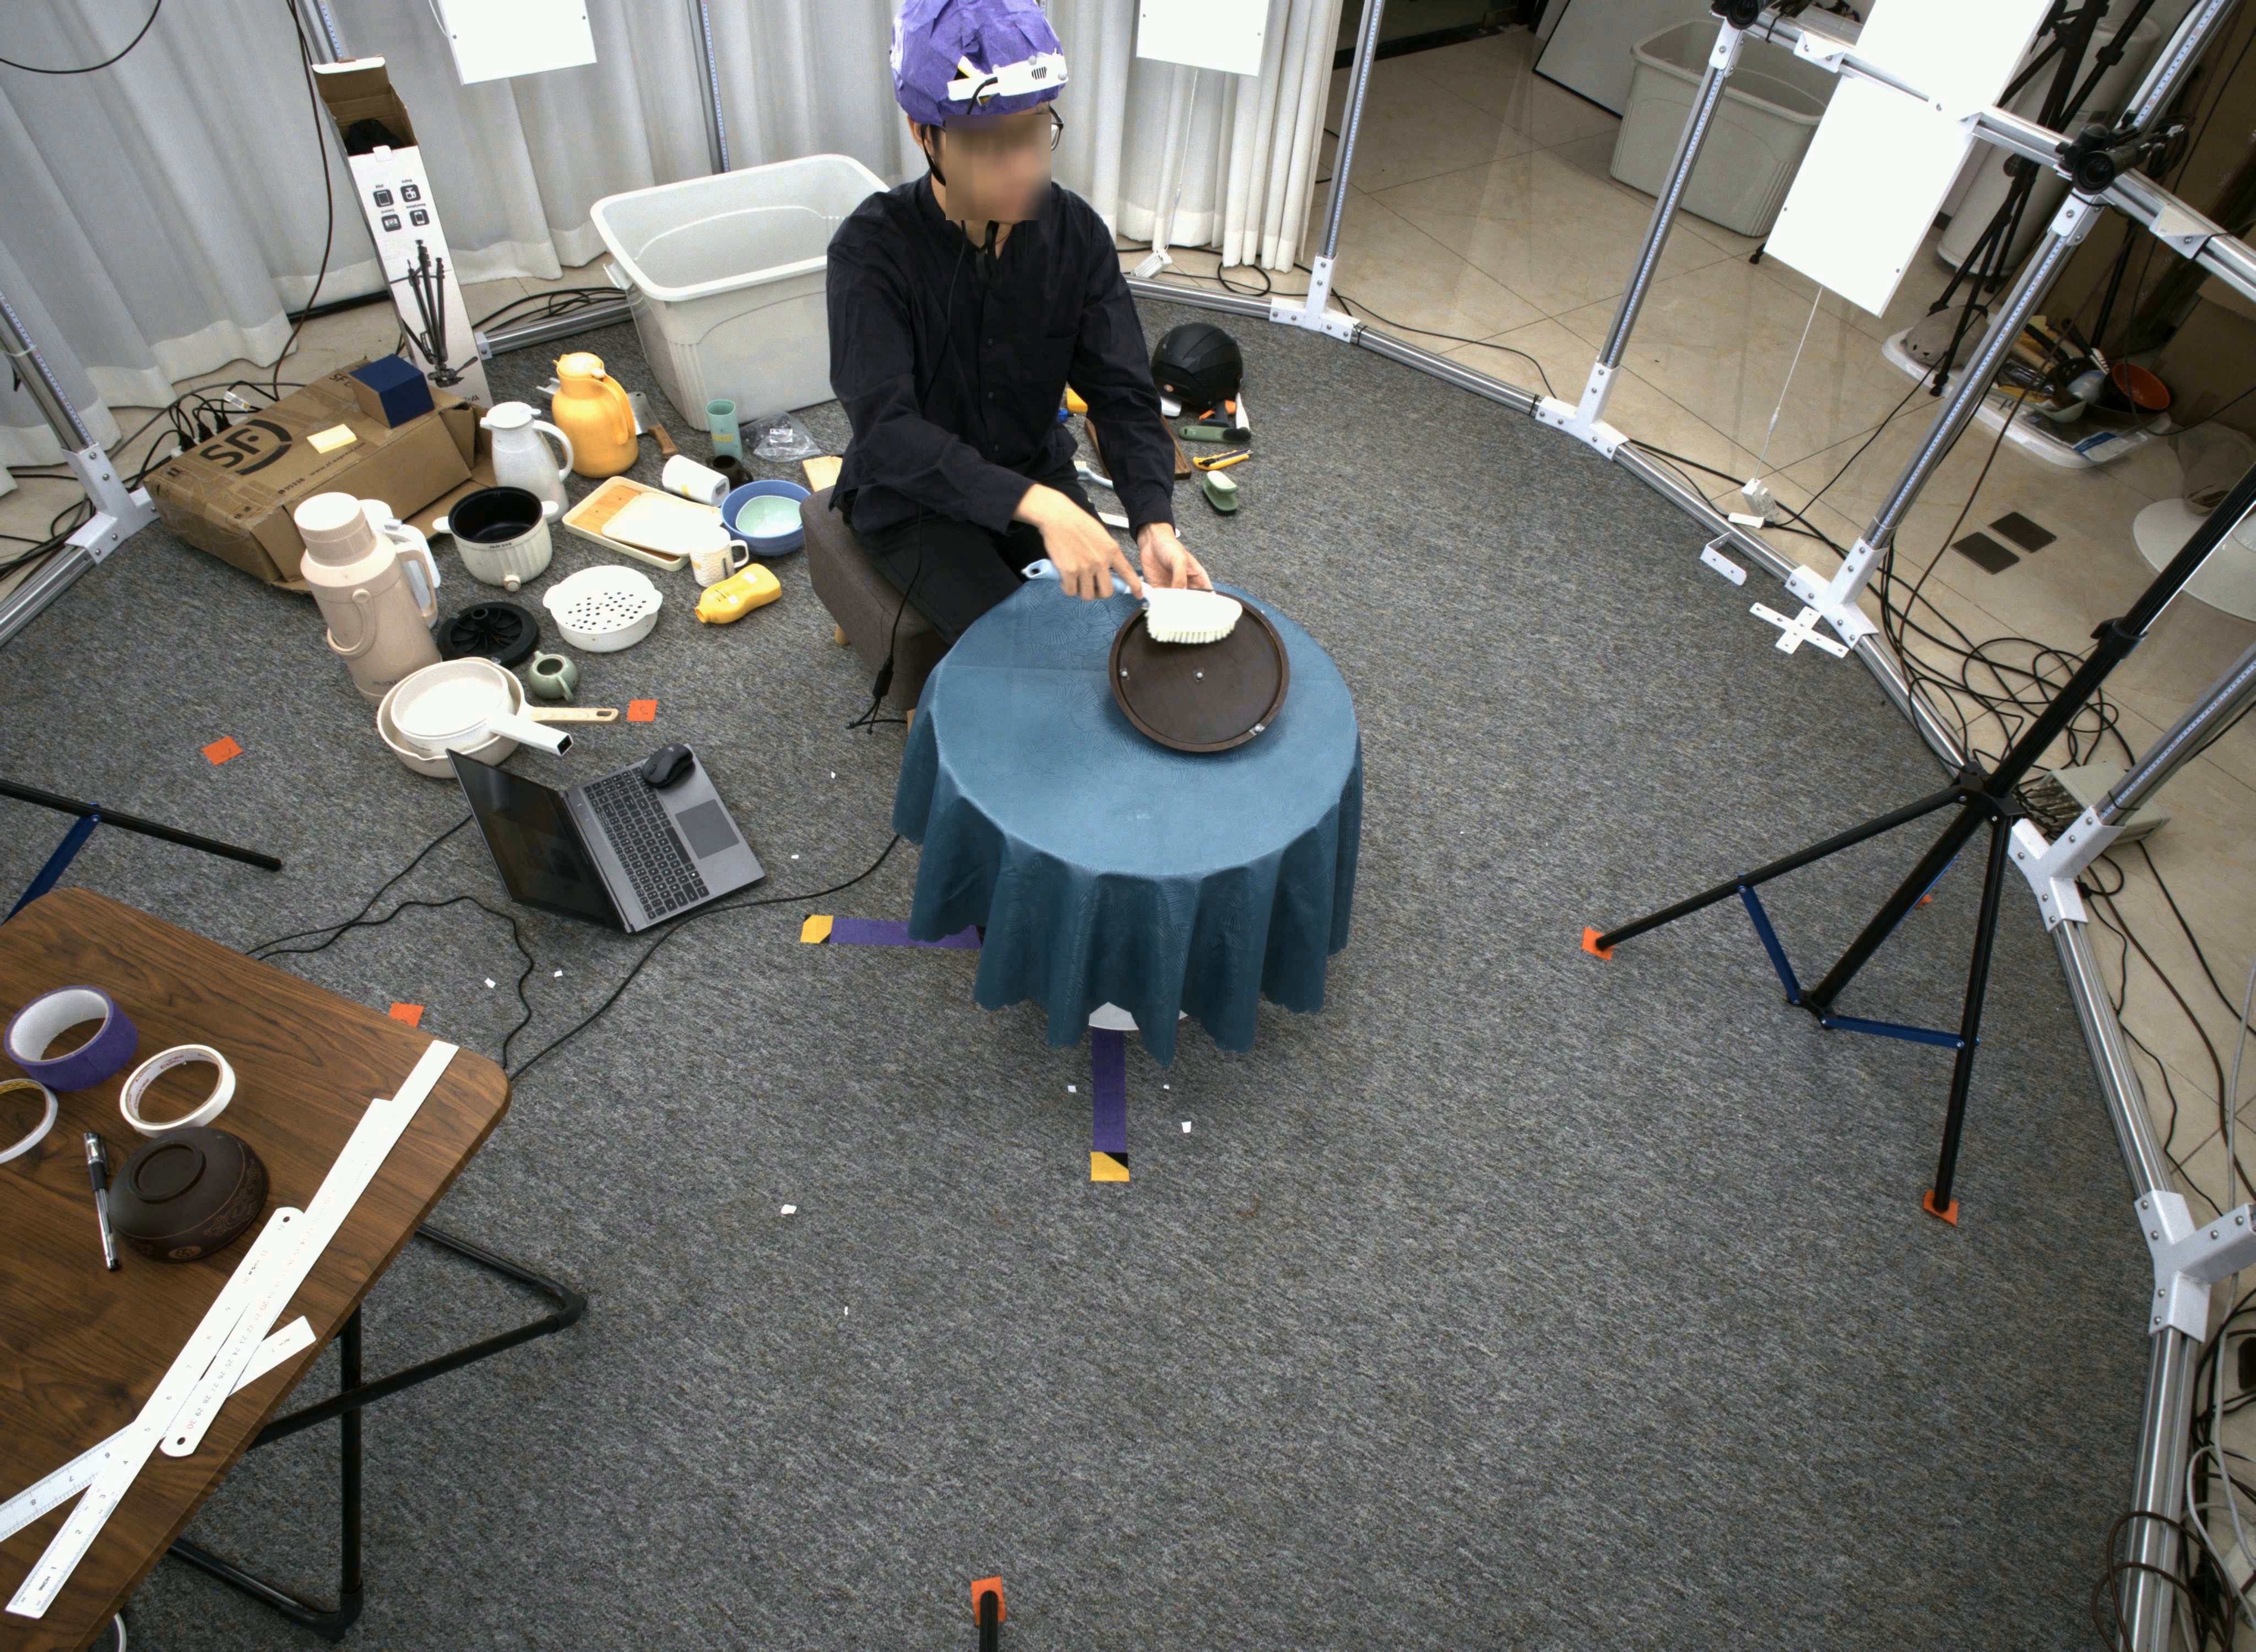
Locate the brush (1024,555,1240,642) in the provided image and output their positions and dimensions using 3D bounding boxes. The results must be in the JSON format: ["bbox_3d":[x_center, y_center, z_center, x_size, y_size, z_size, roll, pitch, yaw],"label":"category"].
[{"bbox_3d":[0.000,-0.309,1.759,0.323,0.083,0.085,7,23,-25],"label":"brush"}]

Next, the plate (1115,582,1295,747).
[{"bbox_3d":[0.108,-0.228,1.803,0.254,0.028,0.259,0,70,0],"label":"plate"}]
